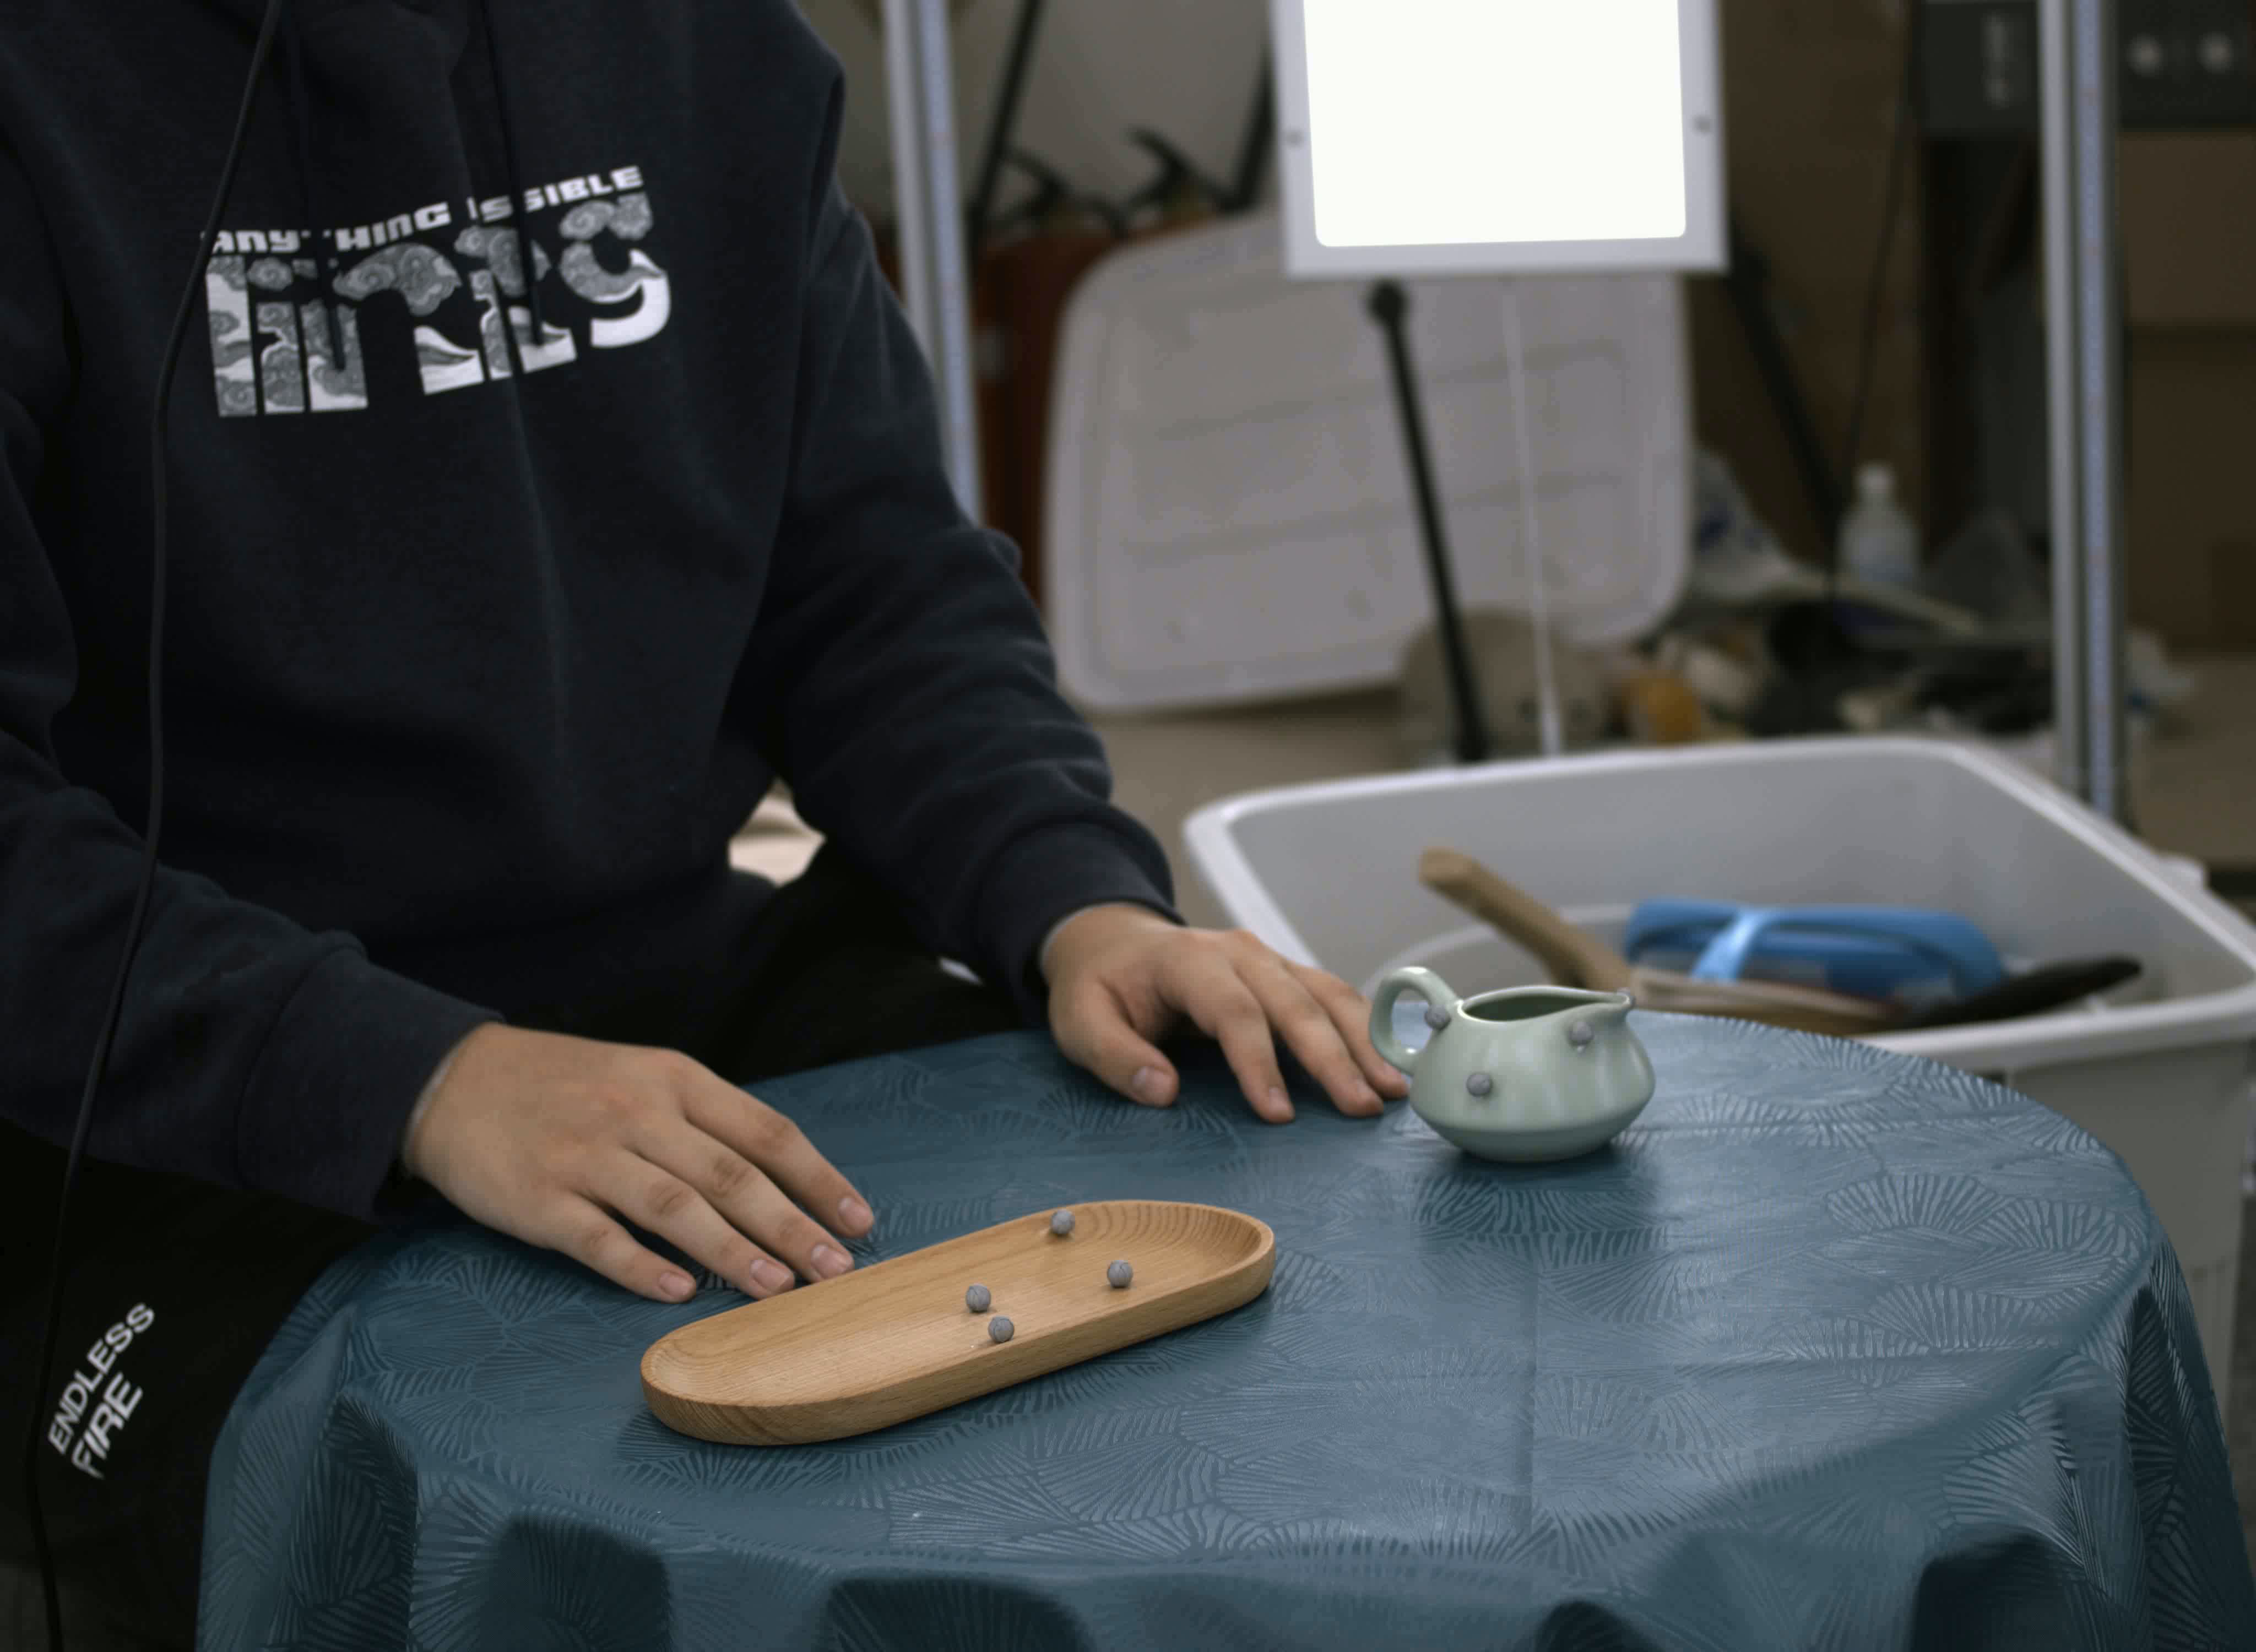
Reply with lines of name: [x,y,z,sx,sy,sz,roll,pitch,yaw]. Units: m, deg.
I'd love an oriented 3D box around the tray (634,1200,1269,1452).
tray: [-0.053,0.158,1.754,0.225,0.020,0.104,-17,17,-36]

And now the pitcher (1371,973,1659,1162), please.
pitcher: [0.132,0.083,1.915,0.110,0.060,0.084,2,14,36]
